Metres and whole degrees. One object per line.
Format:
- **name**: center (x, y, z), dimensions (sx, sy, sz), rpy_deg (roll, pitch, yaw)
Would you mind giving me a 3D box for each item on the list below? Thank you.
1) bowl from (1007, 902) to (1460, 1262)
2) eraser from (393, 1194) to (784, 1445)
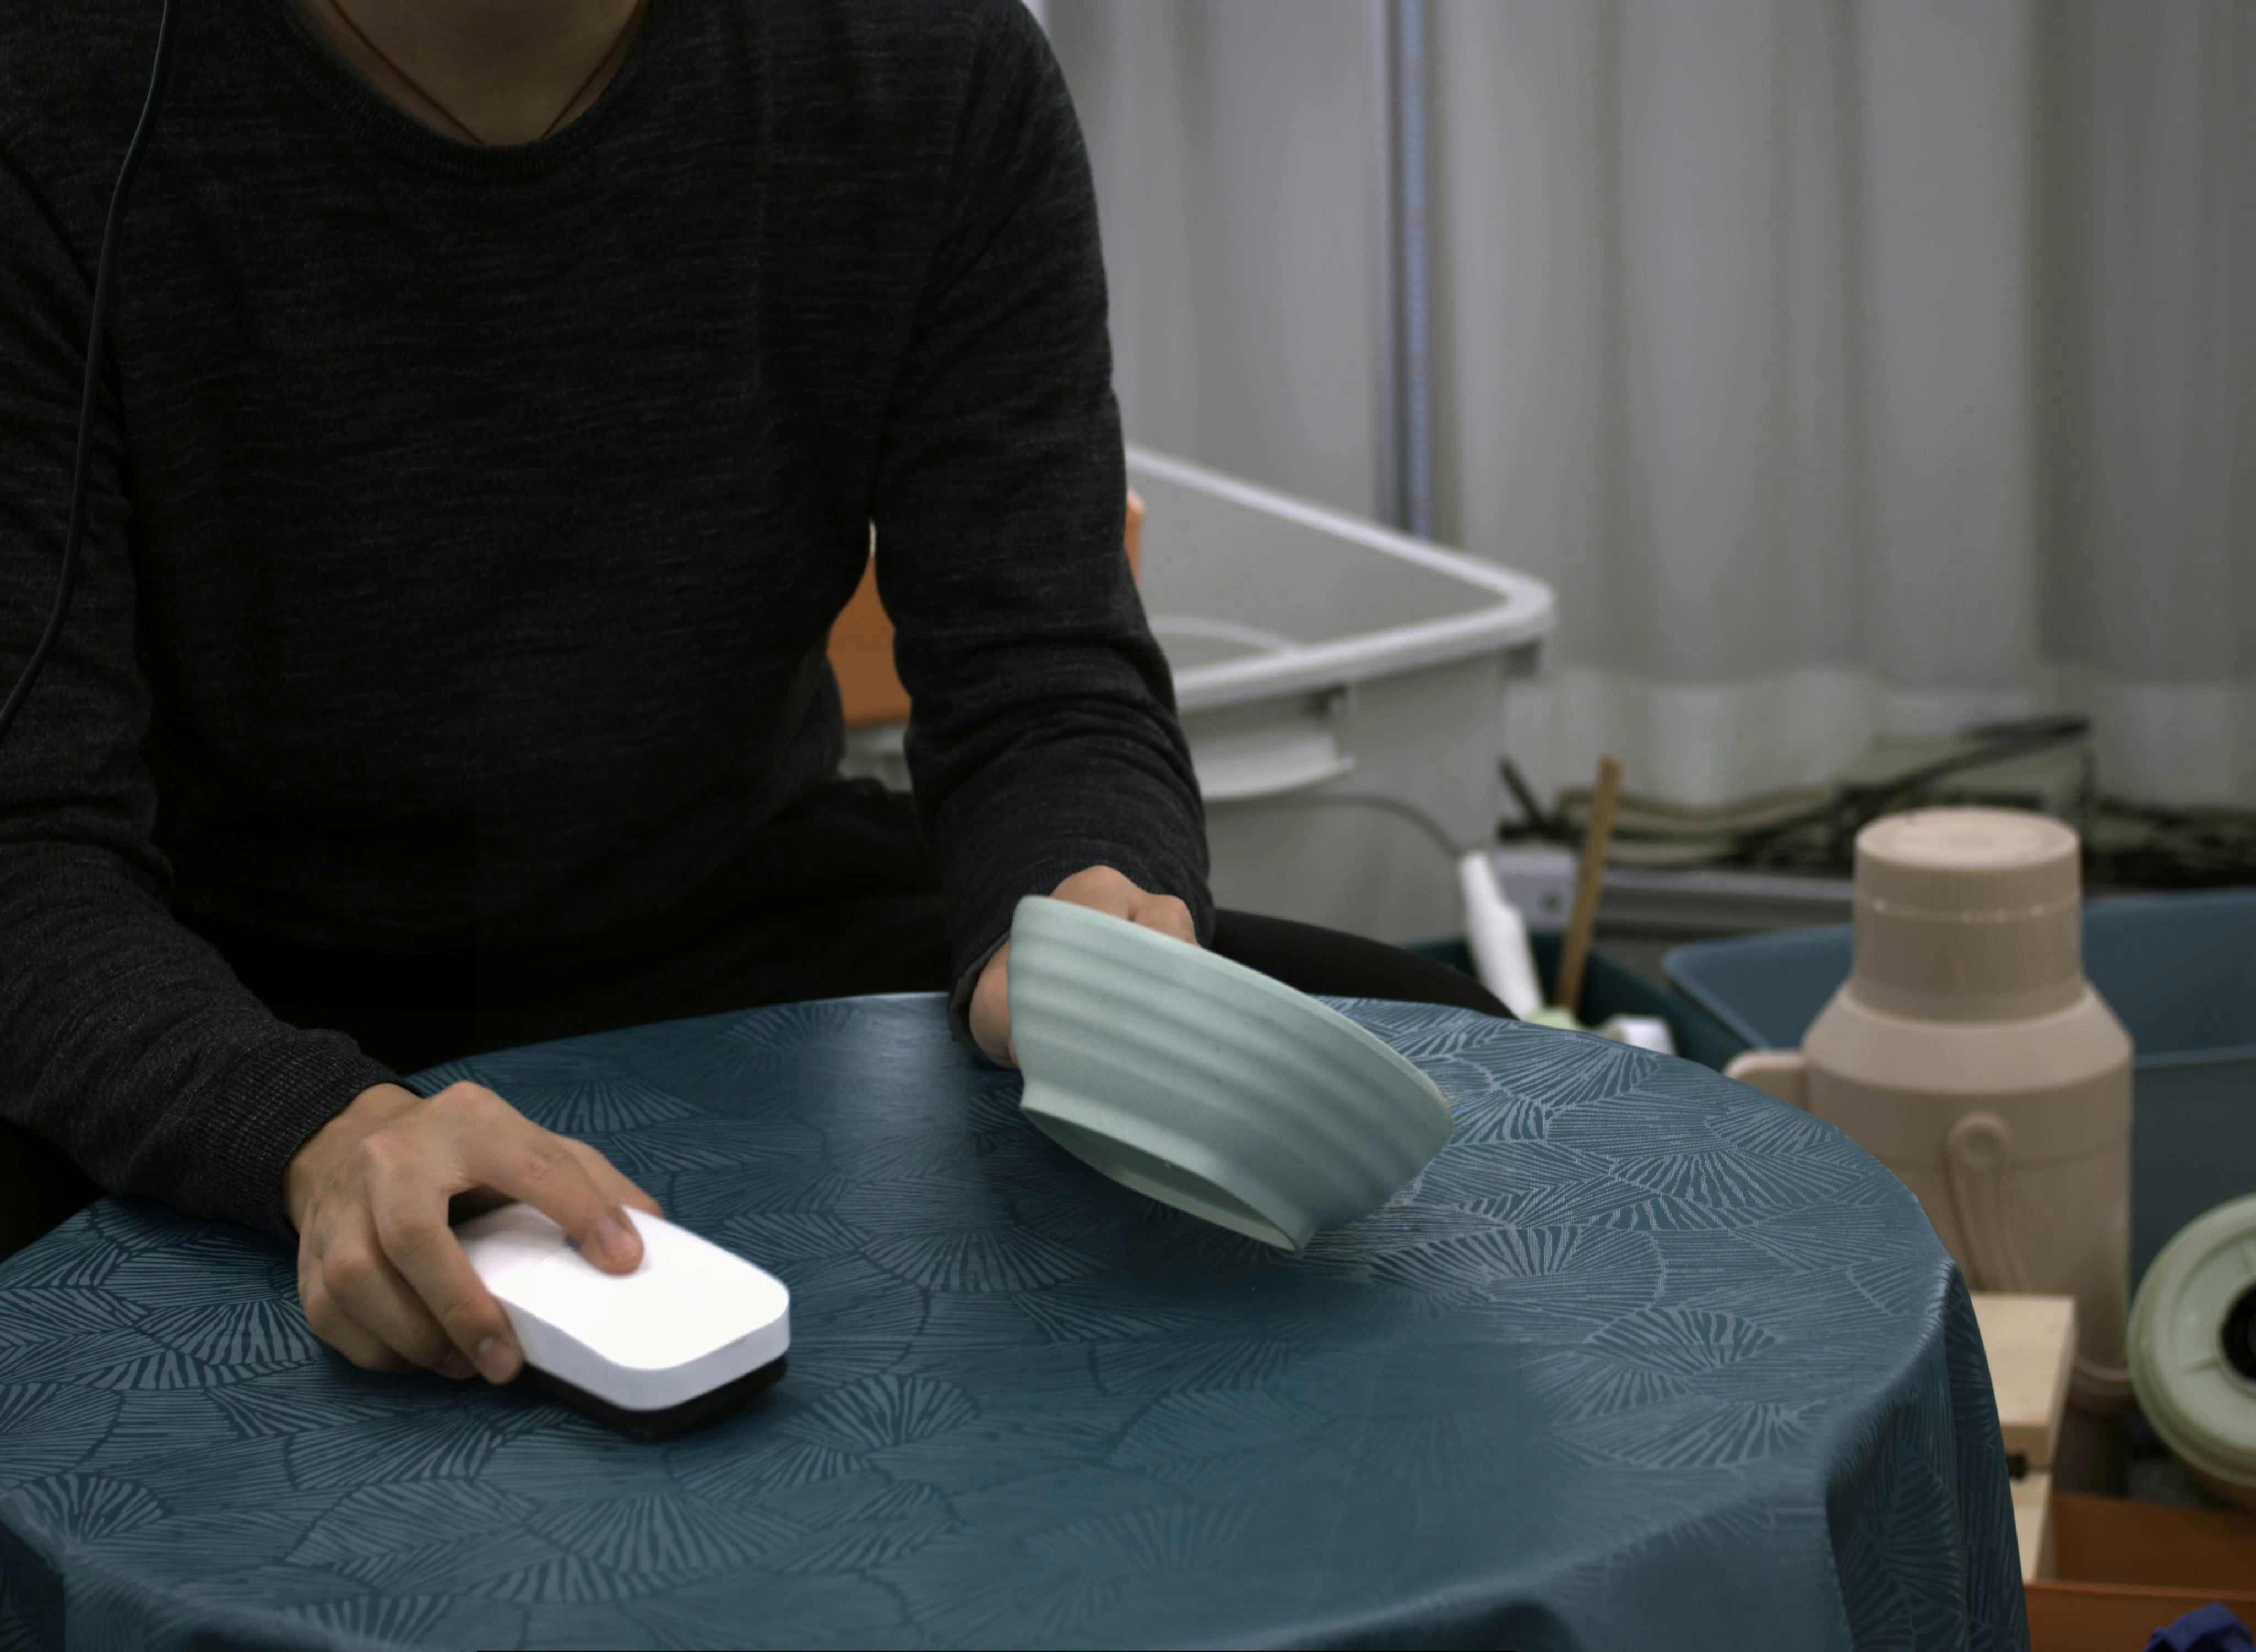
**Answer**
- **bowl**: center (0.022, 0.083, 1.635), dimensions (0.151, 0.059, 0.150), rpy_deg (26, -10, 5)
- **eraser**: center (-0.154, 0.138, 1.574), dimensions (0.063, 0.034, 0.132), rpy_deg (-20, 26, -35)
